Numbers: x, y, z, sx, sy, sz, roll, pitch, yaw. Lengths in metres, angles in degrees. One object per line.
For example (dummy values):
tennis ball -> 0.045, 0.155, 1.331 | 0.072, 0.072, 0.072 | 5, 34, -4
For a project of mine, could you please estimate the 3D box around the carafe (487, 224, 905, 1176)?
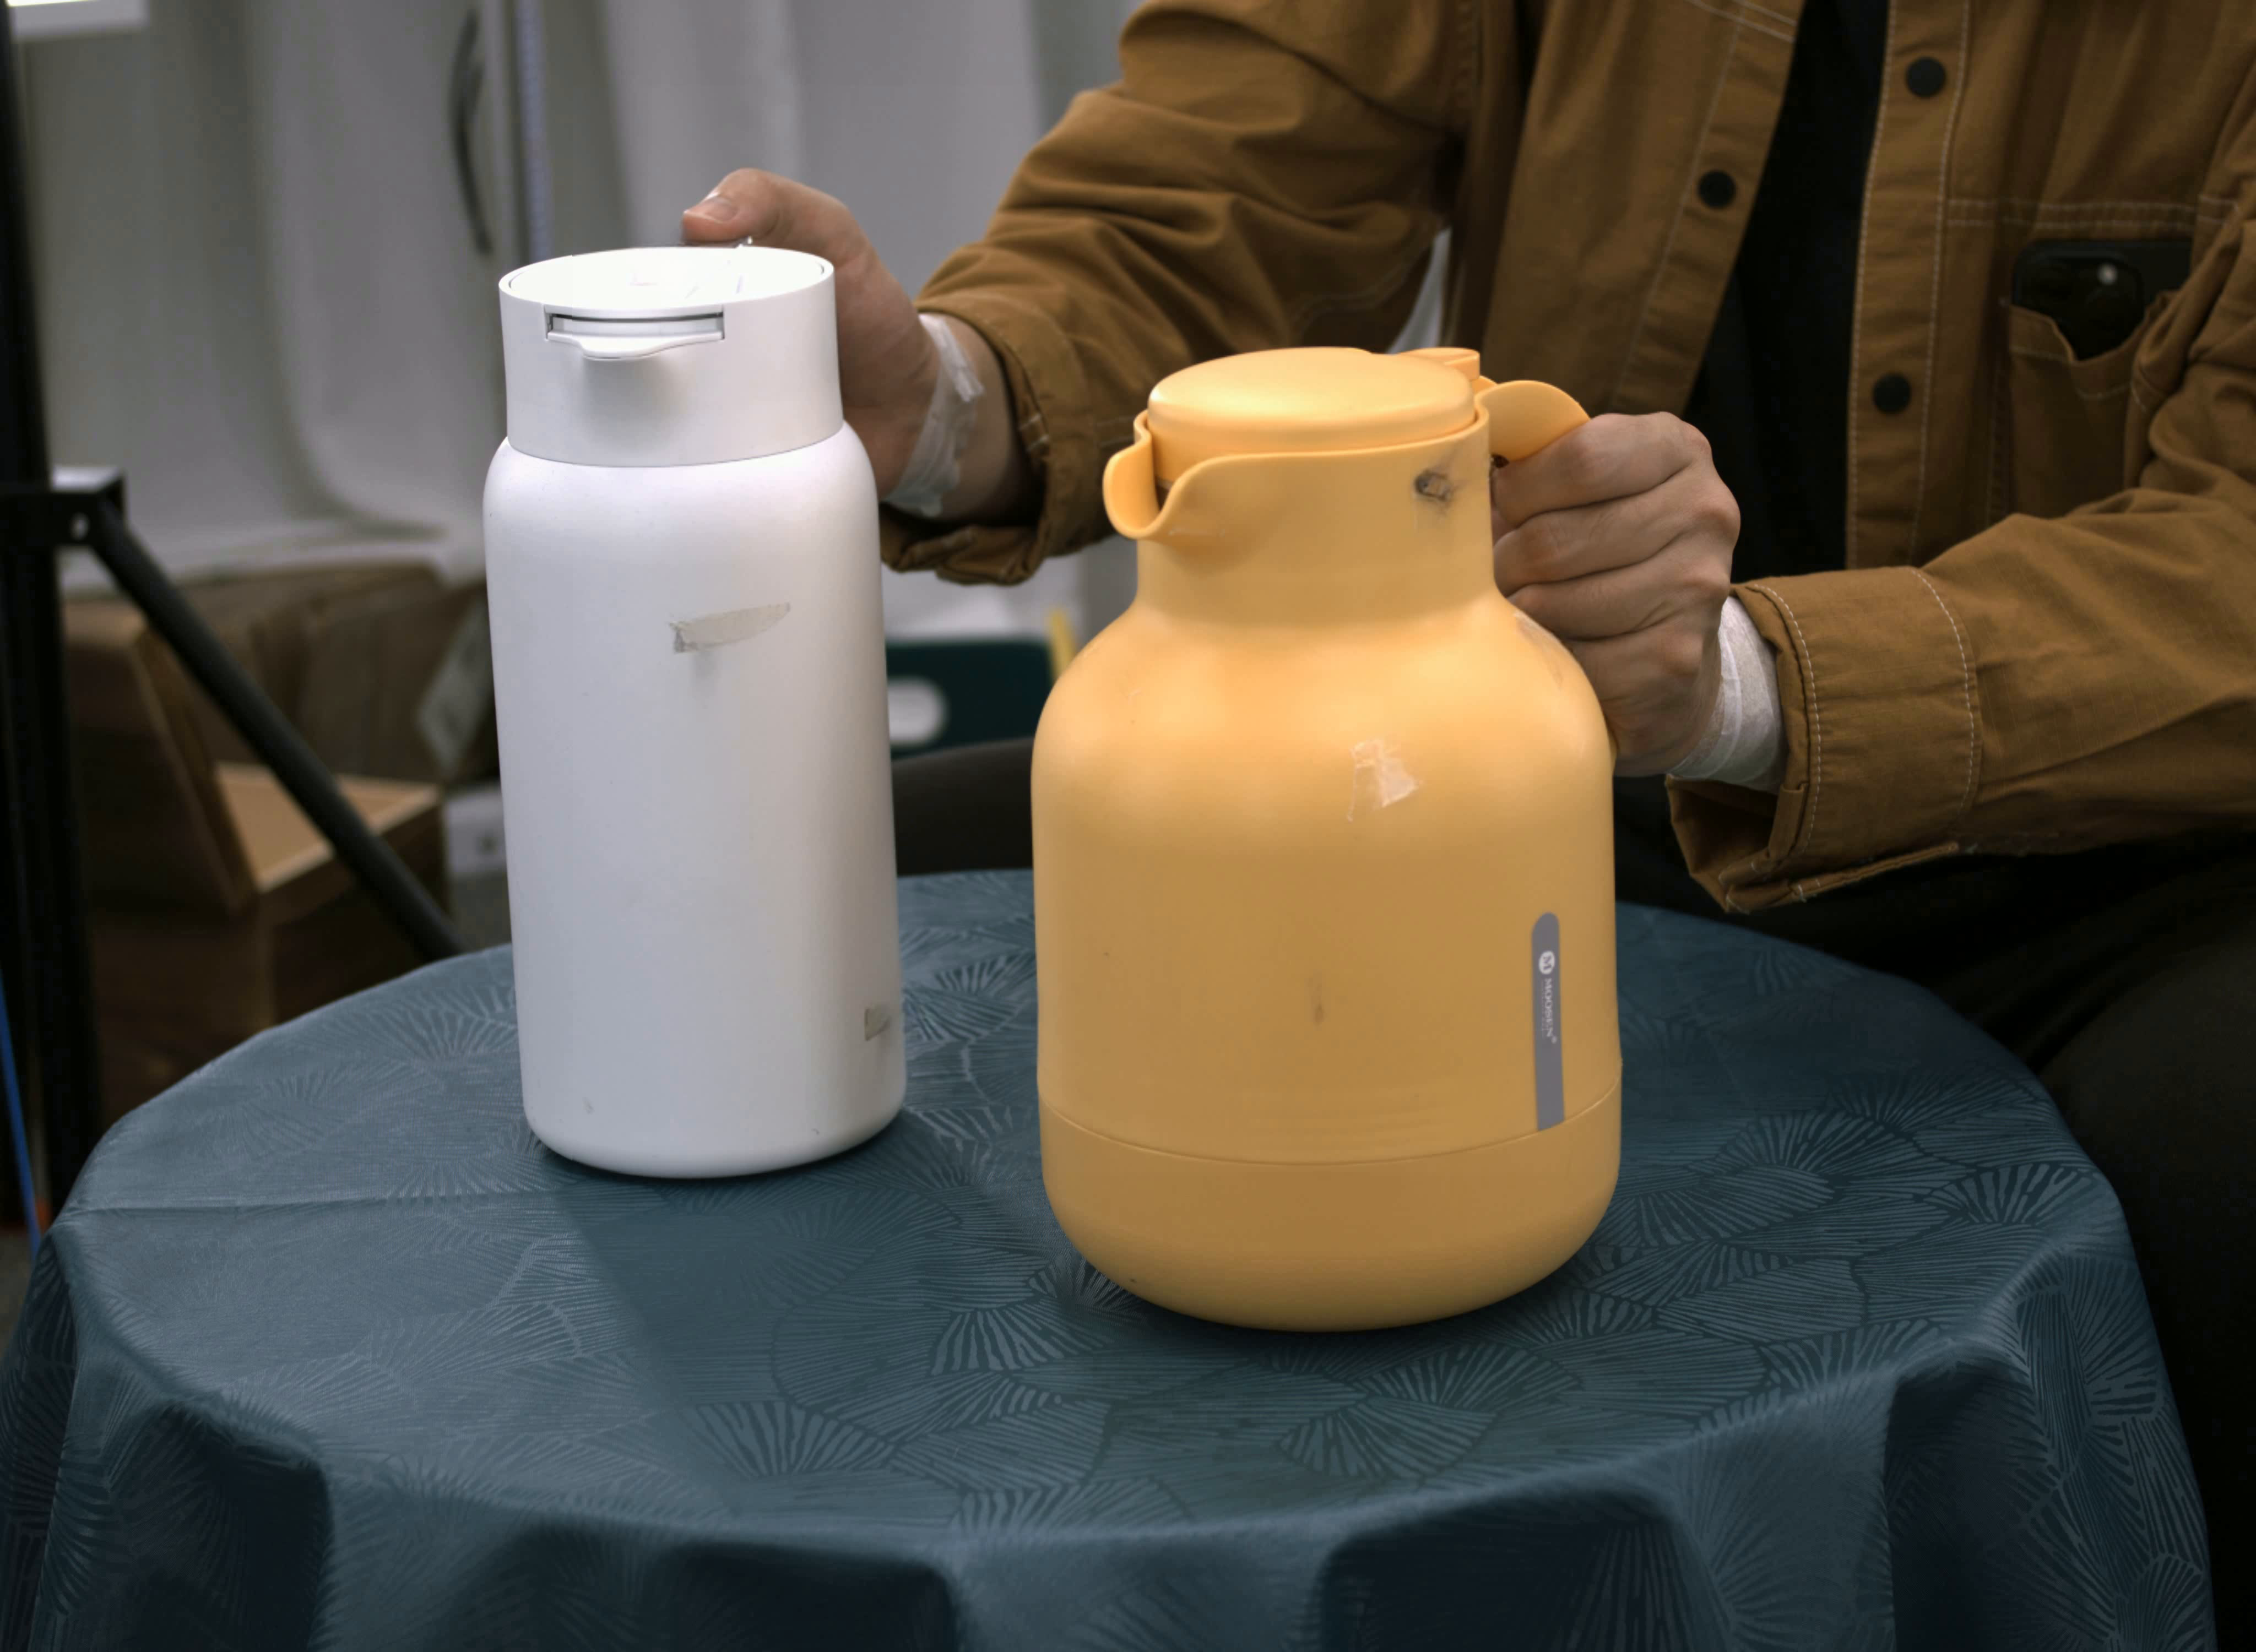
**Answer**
carafe -> -0.128, -0.042, 1.614 | 0.124, 0.269, 0.172 | -1, 15, 11

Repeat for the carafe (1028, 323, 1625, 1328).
carafe -> 0.068, -0.007, 1.468 | 0.198, 0.260, 0.167 | -18, 25, -41
